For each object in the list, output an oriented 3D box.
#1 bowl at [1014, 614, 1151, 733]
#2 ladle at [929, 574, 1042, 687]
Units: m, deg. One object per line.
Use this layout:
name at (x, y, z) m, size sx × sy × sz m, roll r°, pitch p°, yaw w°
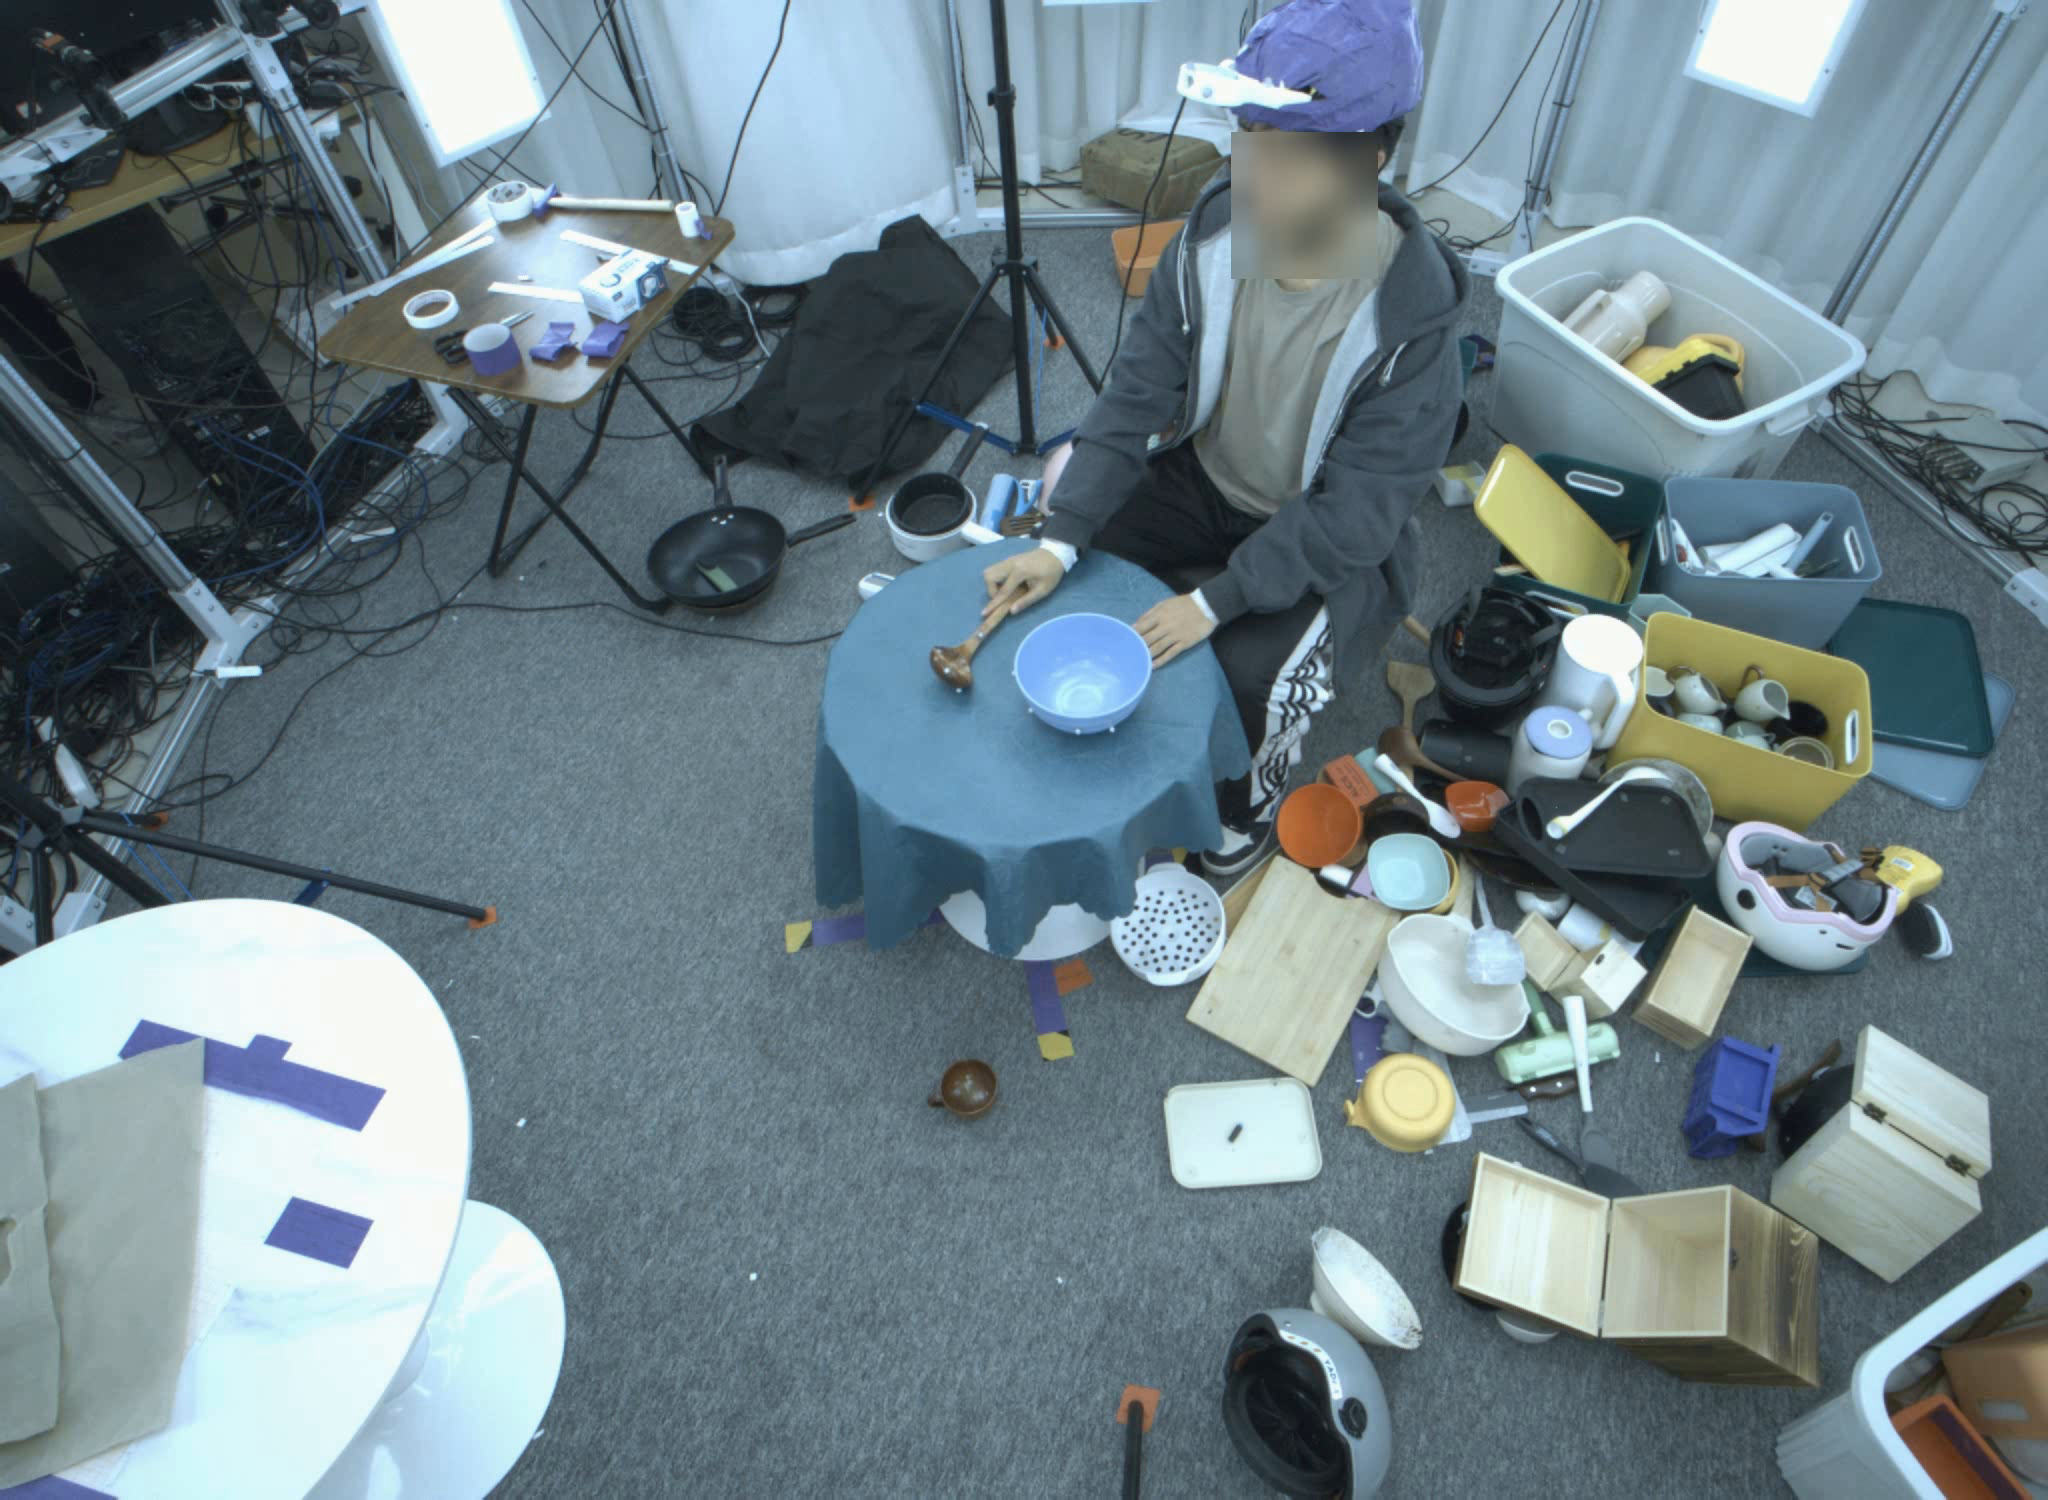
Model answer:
bowl at (0.087, -0.096, 1.797) m, size 0.196 × 0.096 × 0.194 m, roll -1°, pitch 54°, yaw 2°
ladle at (-0.048, -0.198, 1.887) m, size 0.082 × 0.075 × 0.275 m, roll 46°, pitch 61°, yaw -10°
